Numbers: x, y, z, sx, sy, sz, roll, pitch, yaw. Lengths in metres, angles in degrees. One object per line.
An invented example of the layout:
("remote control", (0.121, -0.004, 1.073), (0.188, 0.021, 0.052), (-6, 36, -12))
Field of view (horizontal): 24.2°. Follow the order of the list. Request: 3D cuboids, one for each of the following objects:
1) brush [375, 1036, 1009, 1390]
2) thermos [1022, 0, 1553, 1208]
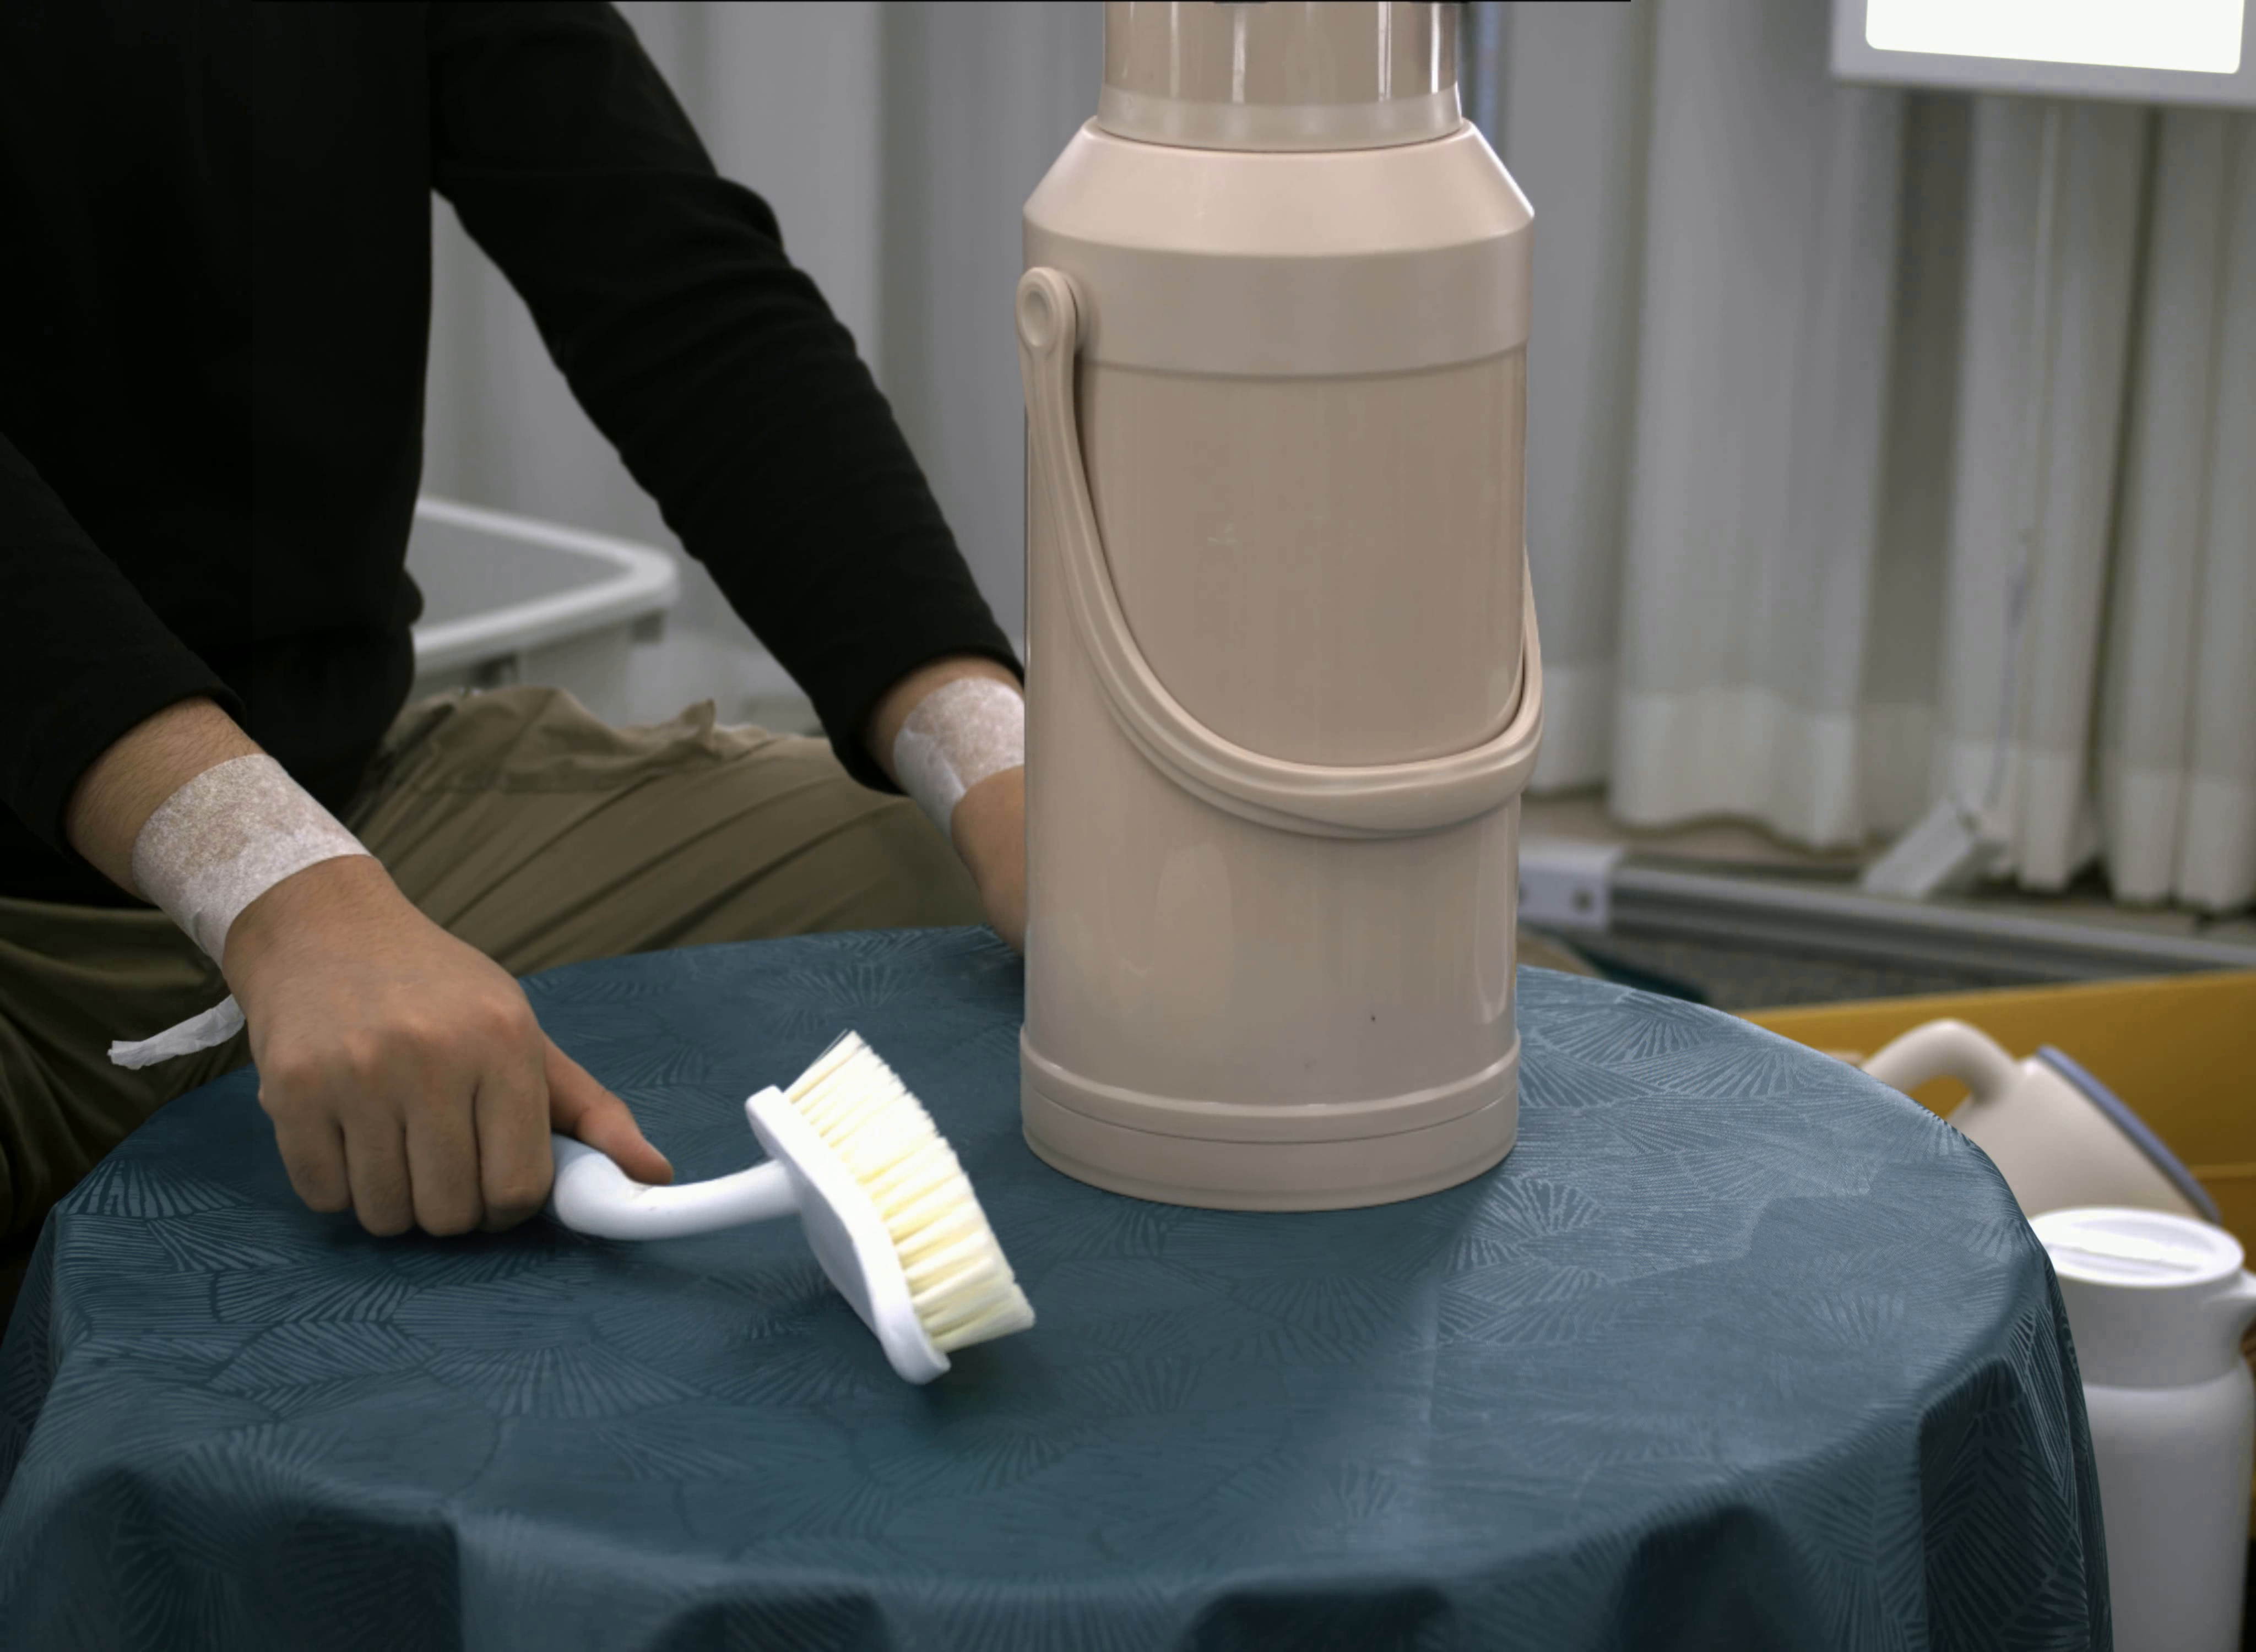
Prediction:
("brush", (-0.123, 0.091, 1.562), (0.085, 0.083, 0.321), (6, 8, -34))
("thermos", (0.041, -0.098, 1.635), (0.176, 0.410, 0.204), (-12, 21, -32))
